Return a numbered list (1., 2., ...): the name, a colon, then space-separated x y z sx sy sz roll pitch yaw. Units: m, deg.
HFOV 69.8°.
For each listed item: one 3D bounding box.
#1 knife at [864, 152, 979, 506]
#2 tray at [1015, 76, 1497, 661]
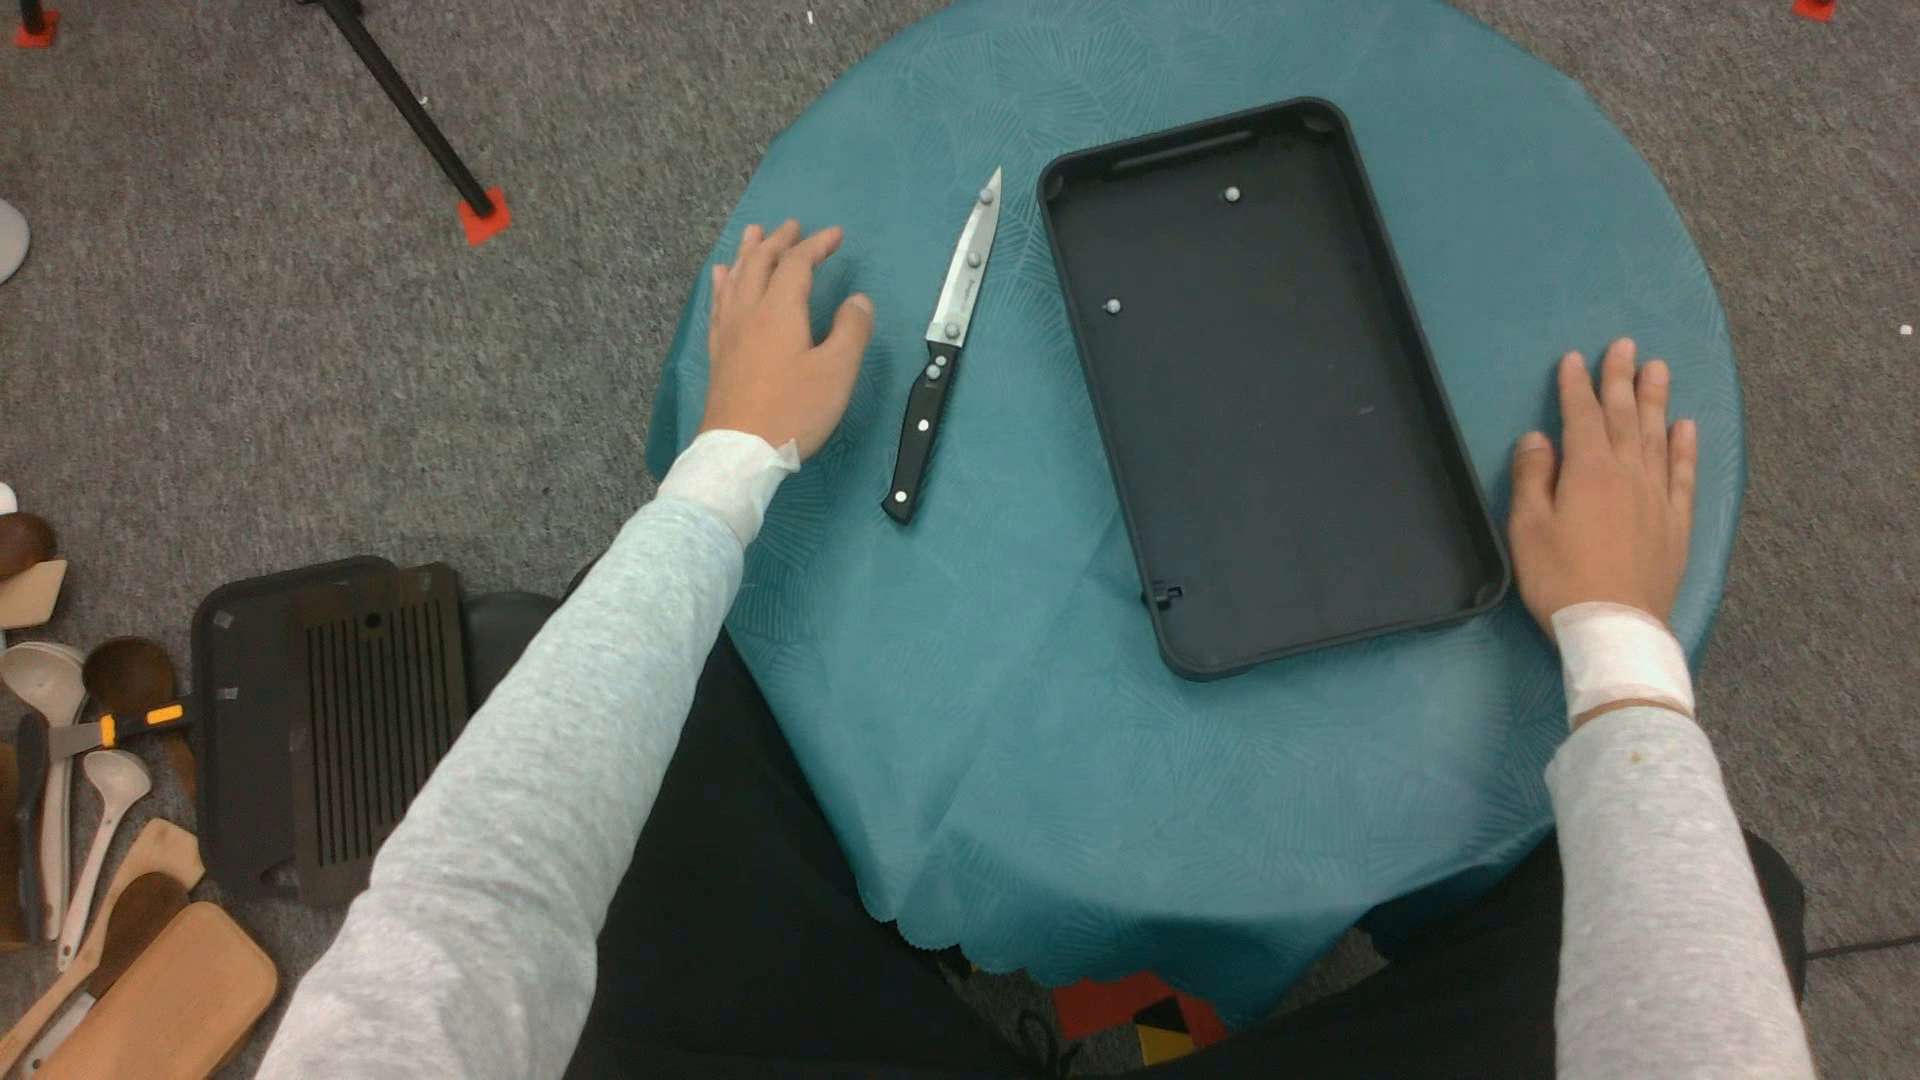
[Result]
1. knife: -0.016 -0.127 0.800 0.024 0.016 0.239 13 70 4
2. tray: 0.155 -0.101 0.767 0.184 0.037 0.318 -15 72 0
